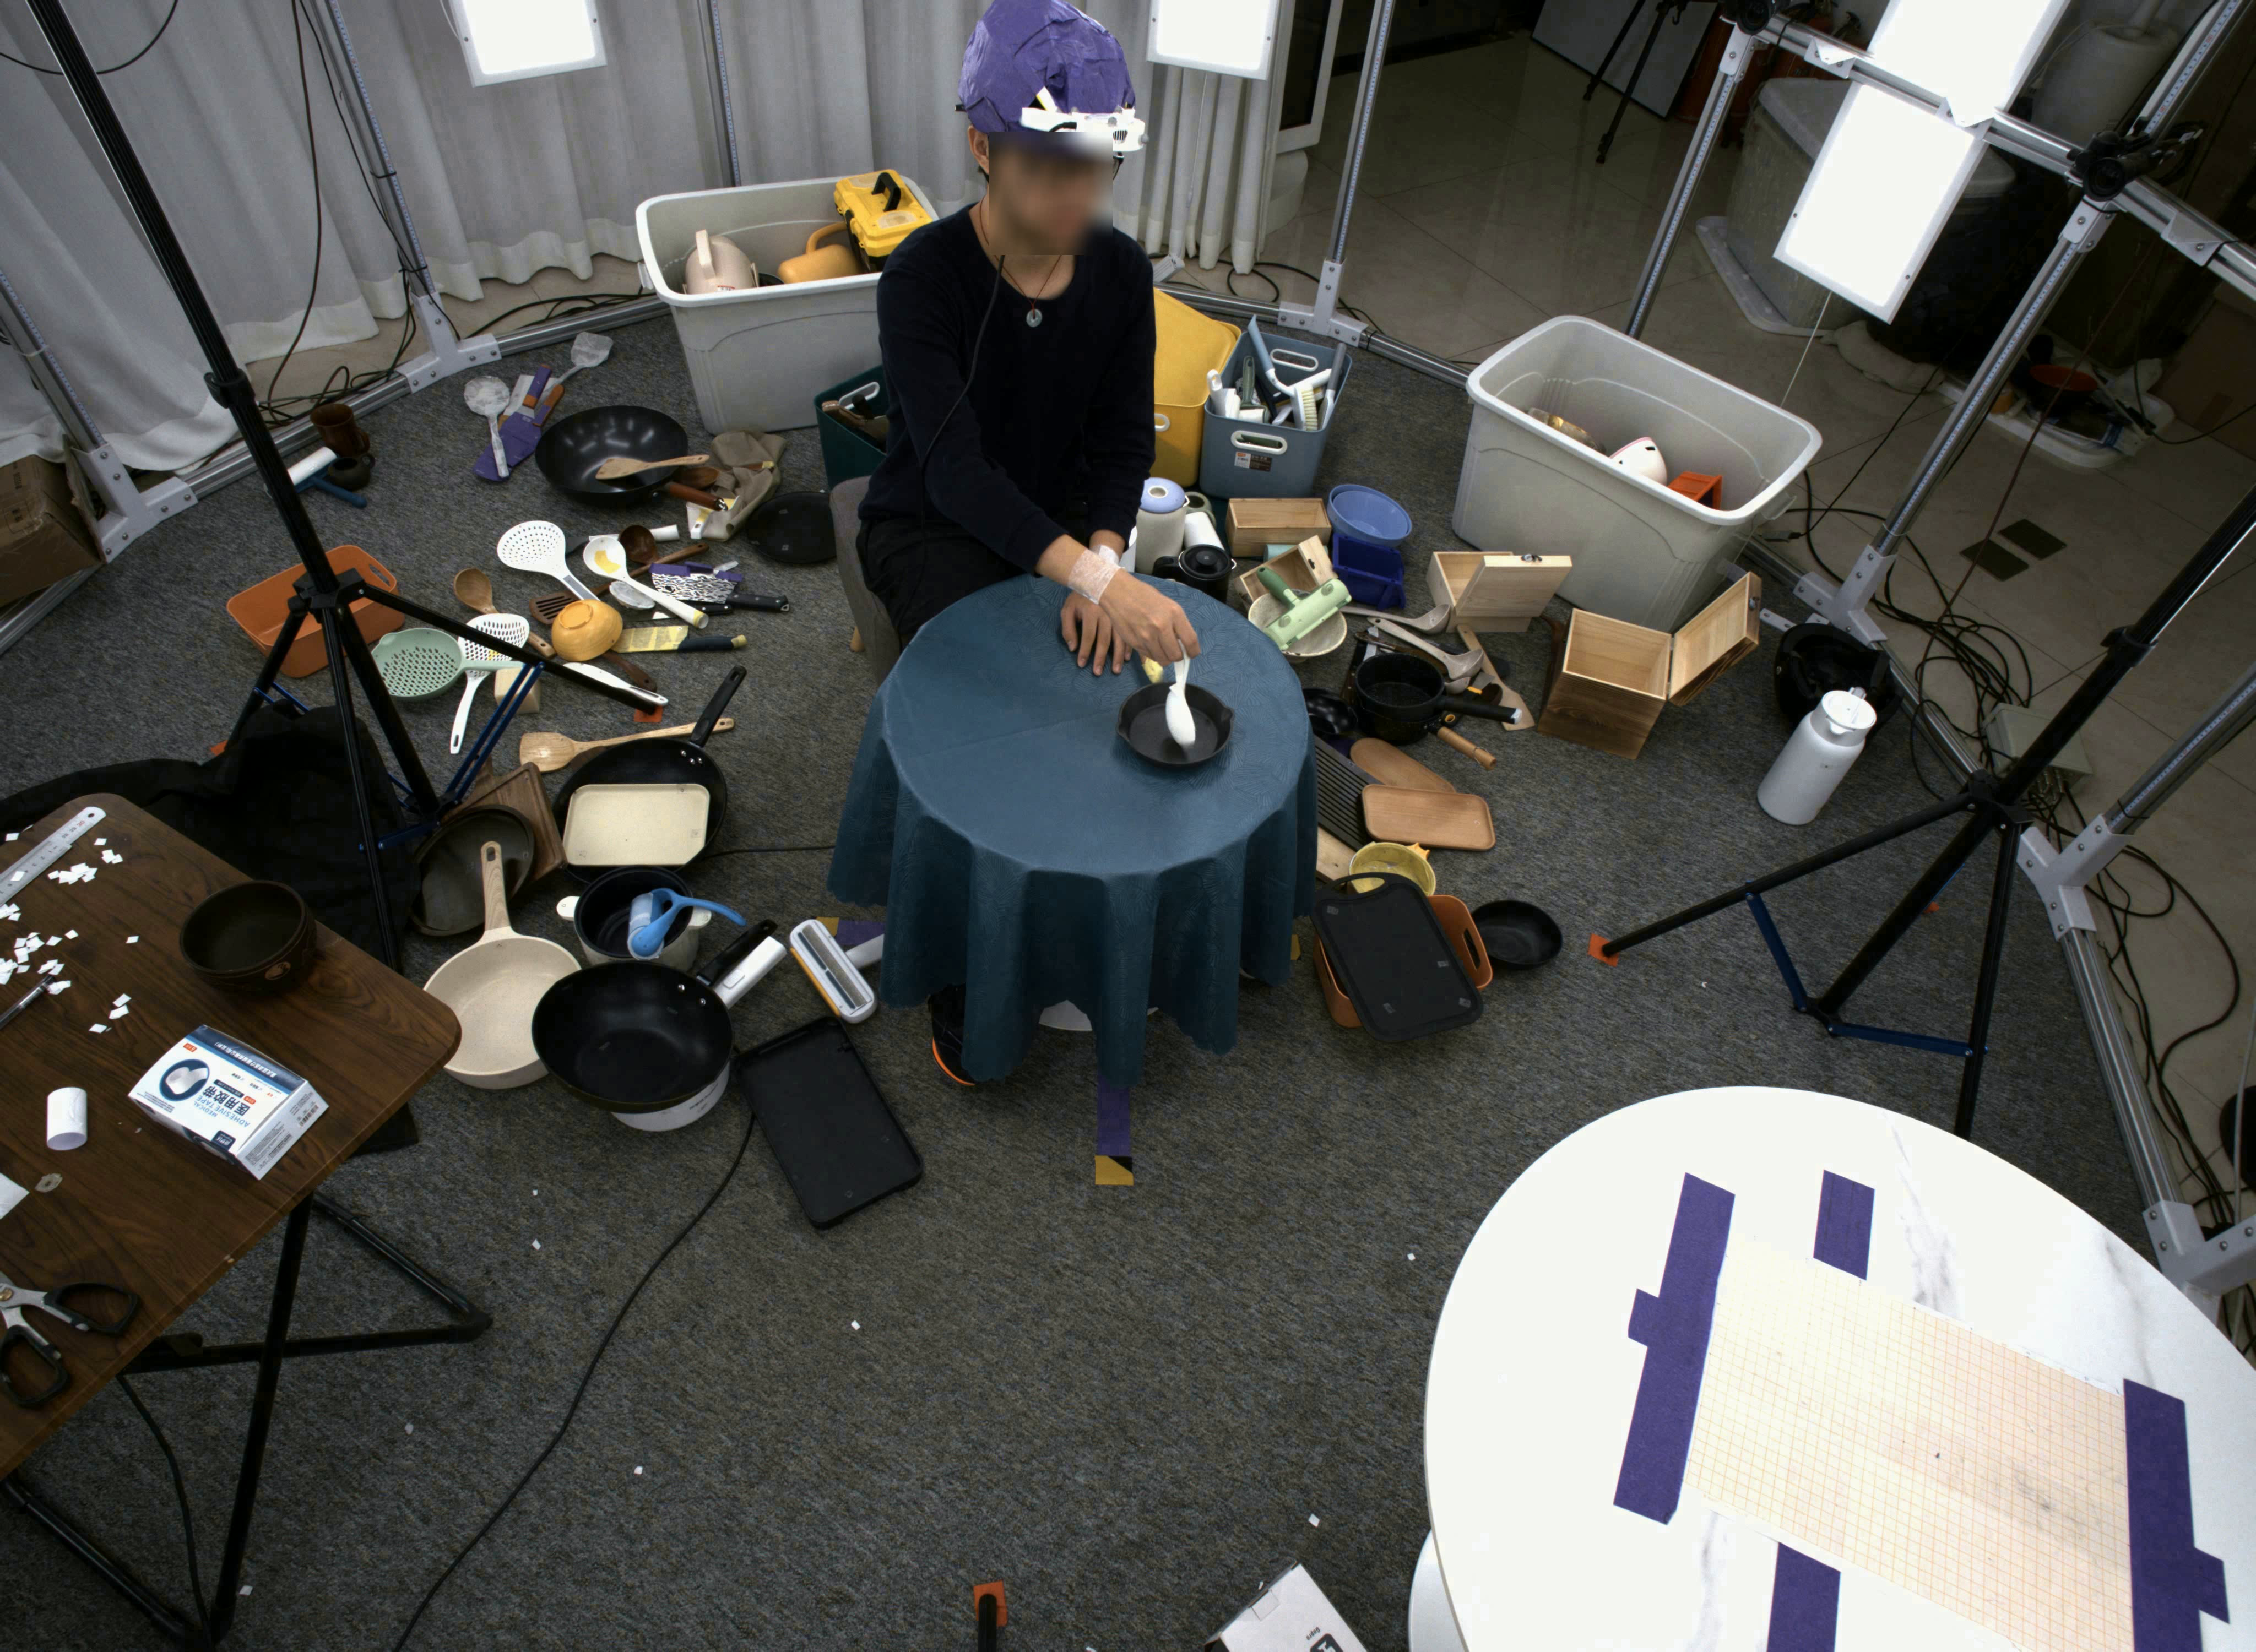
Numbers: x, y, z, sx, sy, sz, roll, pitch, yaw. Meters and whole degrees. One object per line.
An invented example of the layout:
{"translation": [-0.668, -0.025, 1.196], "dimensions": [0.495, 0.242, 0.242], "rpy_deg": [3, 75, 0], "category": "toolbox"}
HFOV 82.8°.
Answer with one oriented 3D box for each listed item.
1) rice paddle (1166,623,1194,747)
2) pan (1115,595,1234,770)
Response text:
{"translation": [0.068, -0.182, 1.694], "dimensions": [0.029, 0.200, 0.070], "rpy_deg": [-25, 53, -17], "category": "rice paddle"}
{"translation": [0.046, -0.205, 1.817], "dimensions": [0.169, 0.048, 0.332], "rpy_deg": [-8, 51, -10], "category": "pan"}
